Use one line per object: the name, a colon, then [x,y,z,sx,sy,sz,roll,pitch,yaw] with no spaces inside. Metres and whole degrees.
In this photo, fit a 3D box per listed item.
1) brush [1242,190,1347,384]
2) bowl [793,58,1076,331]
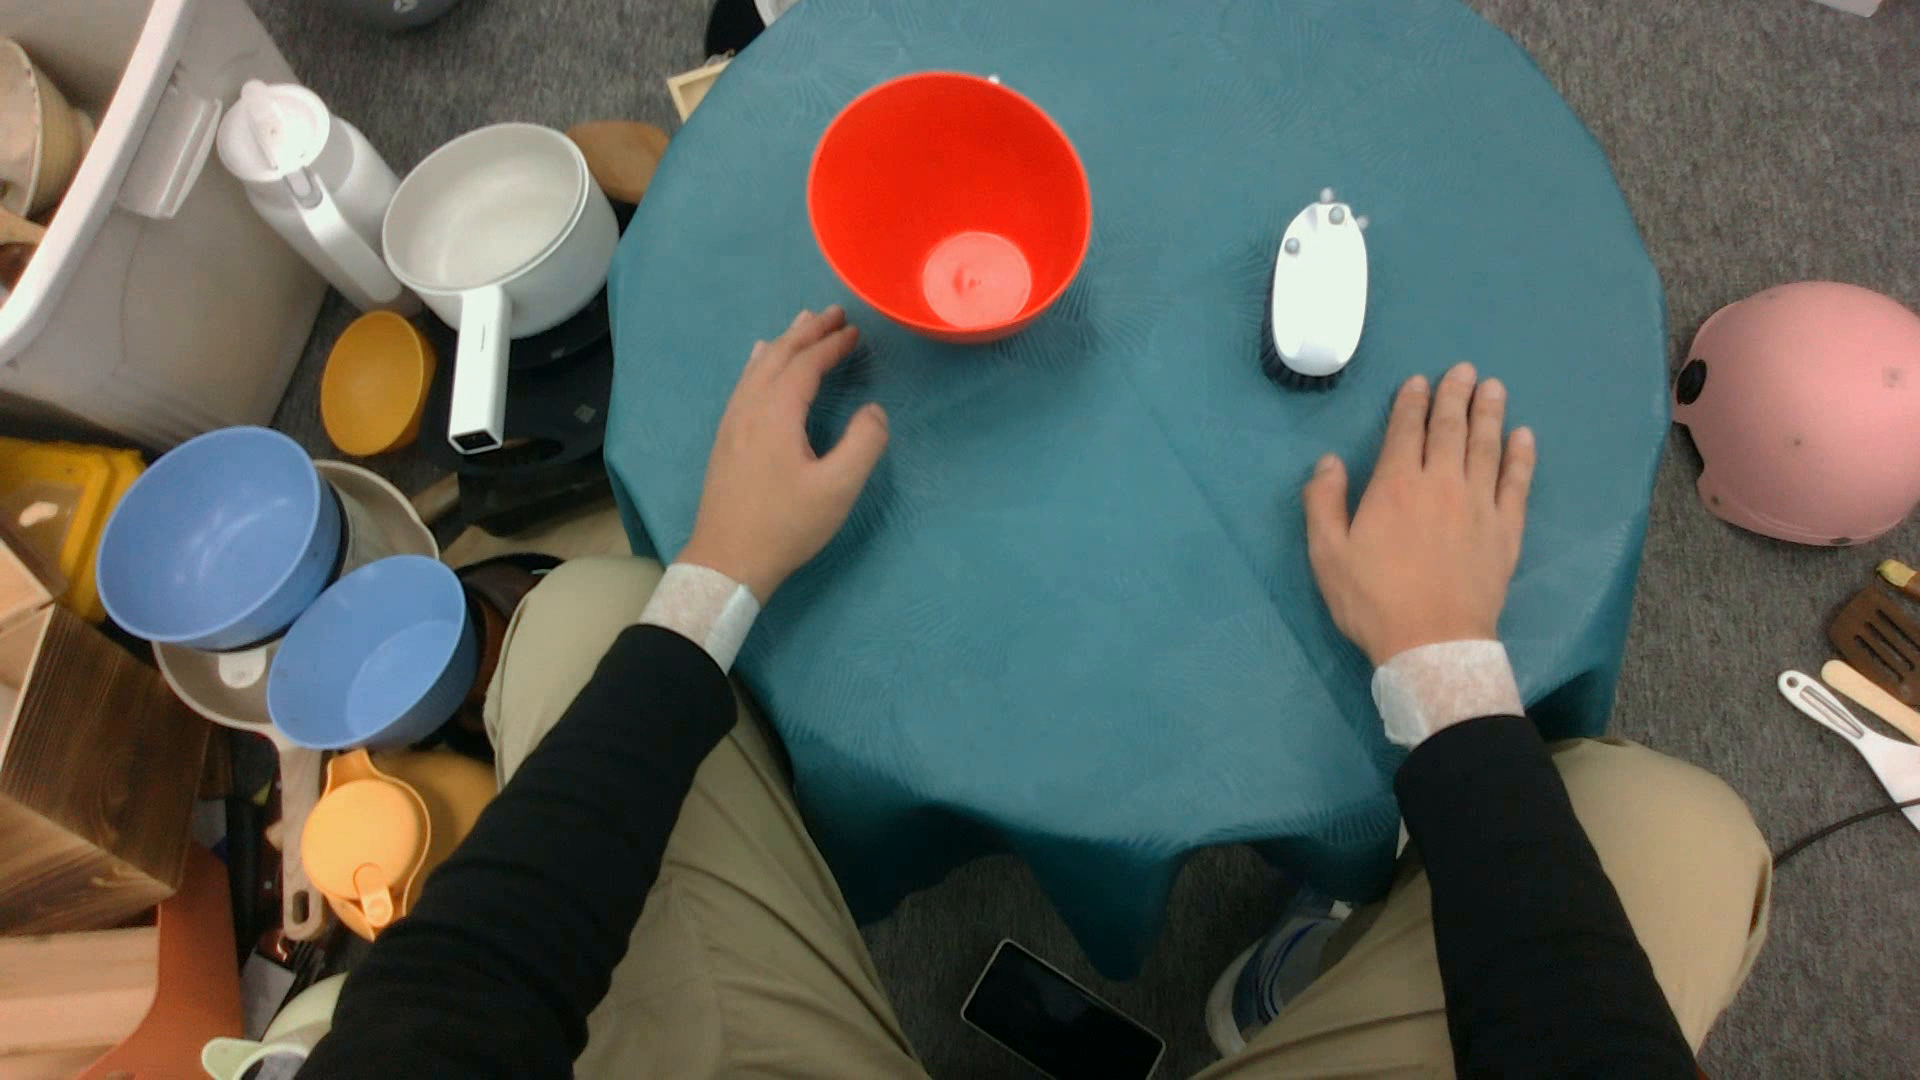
brush: [0.188,-0.145,0.755,0.050,0.072,0.099,10,74,4]
bowl: [-0.011,-0.174,0.757,0.148,0.104,0.148,0,75,1]
